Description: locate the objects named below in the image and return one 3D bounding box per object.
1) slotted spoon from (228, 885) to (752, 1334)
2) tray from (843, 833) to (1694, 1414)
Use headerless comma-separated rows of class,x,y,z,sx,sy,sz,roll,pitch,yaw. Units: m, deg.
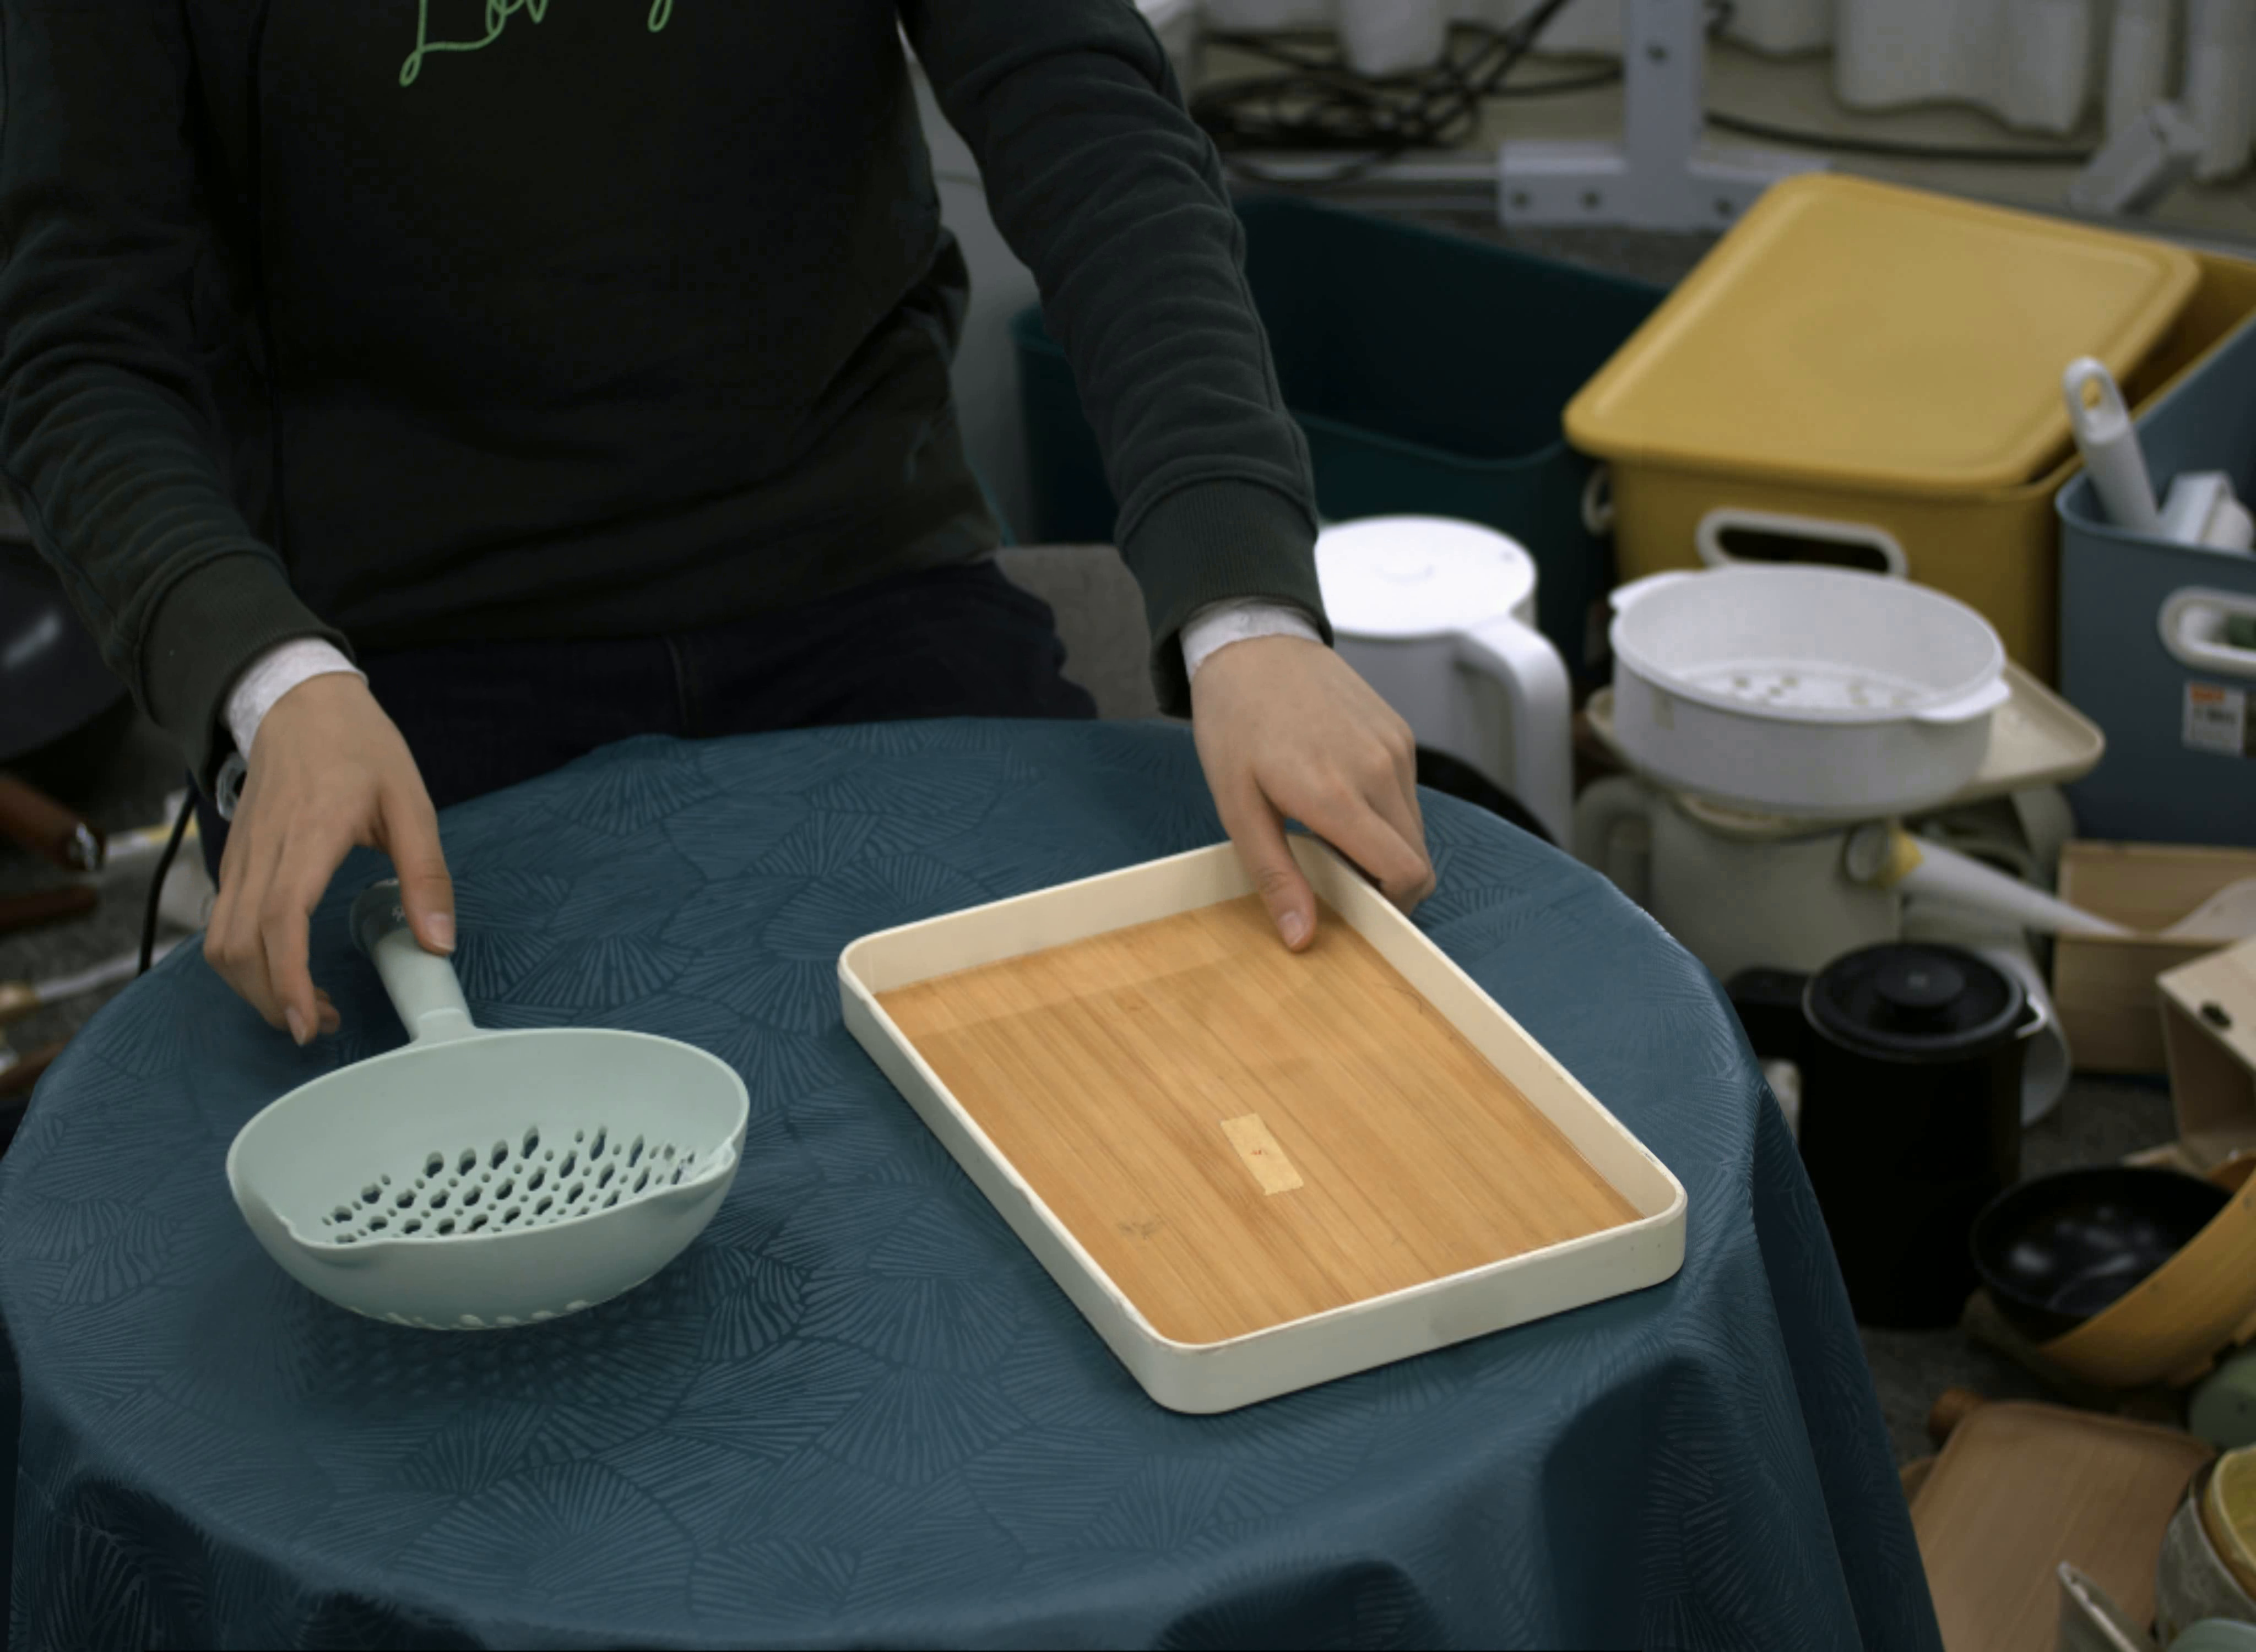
slotted spoon,-0.228,0.080,1.896,0.169,0.074,0.362,-9,28,-12
tray,0.041,0.094,1.883,0.192,0.027,0.302,-14,29,-20
